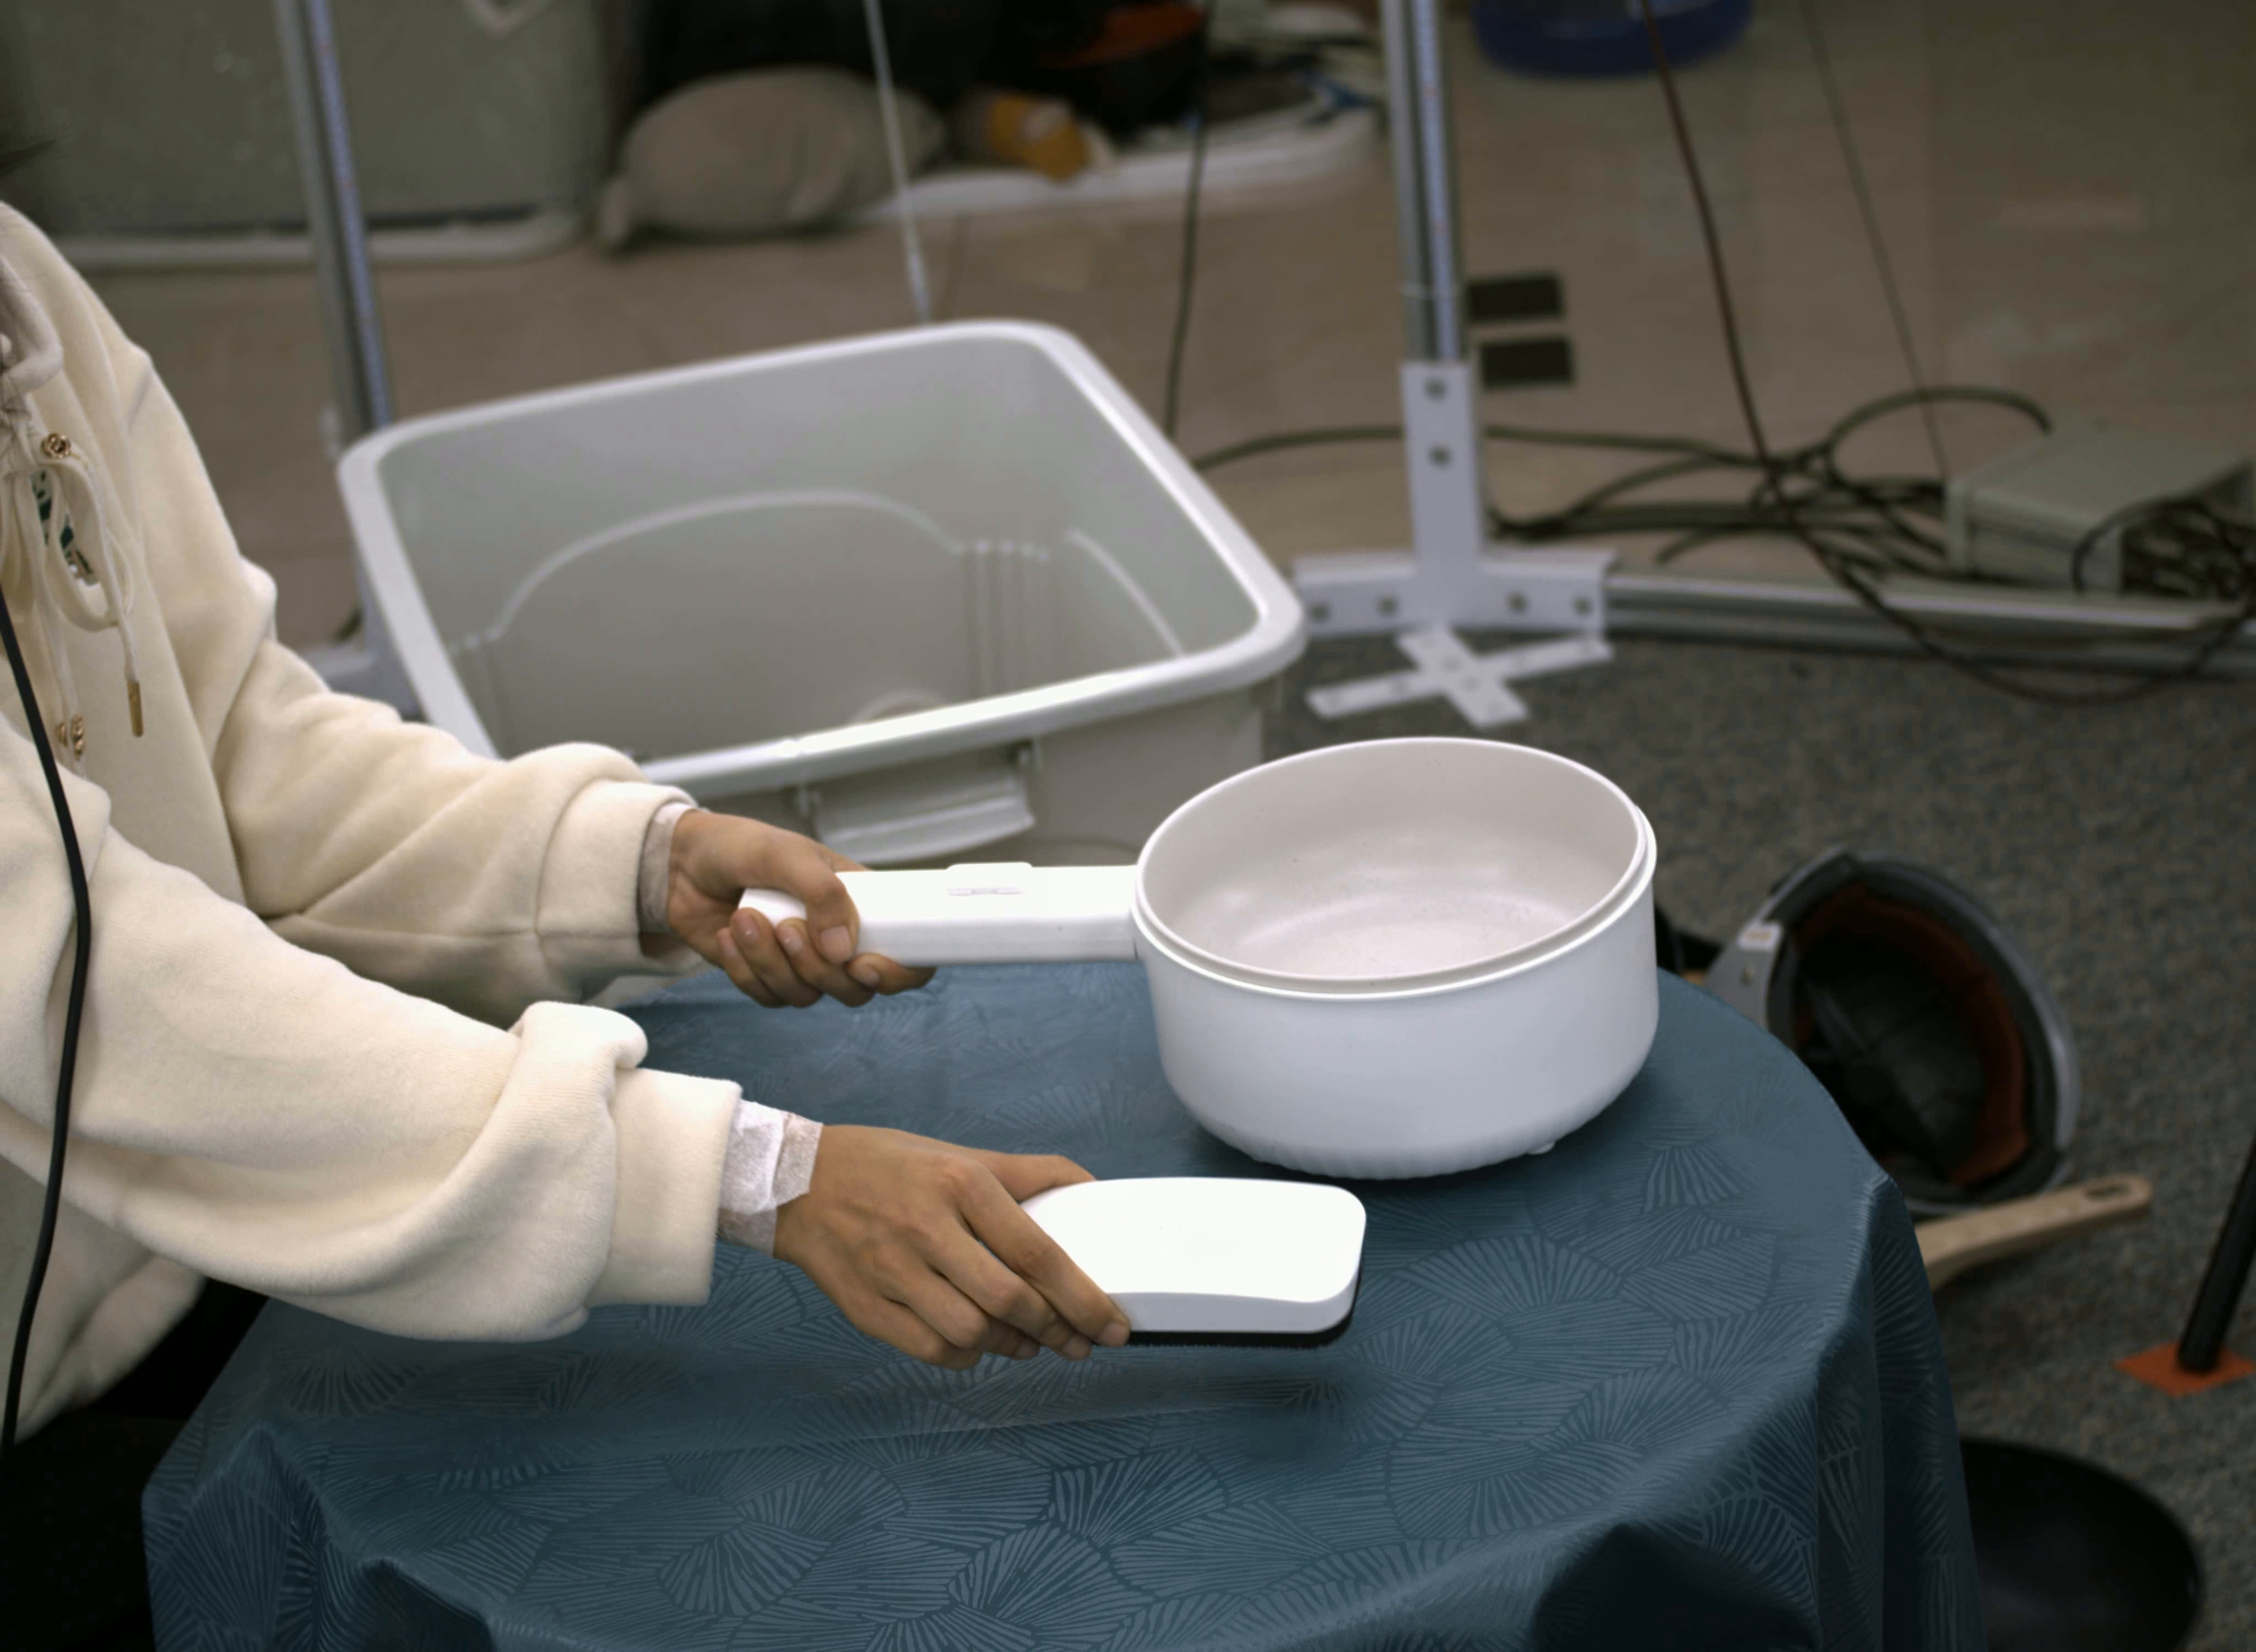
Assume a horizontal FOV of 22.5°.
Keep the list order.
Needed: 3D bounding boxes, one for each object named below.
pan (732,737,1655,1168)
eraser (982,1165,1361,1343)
[{"bbox_3d":[0.028,0.057,2.184,0.354,0.104,0.198,-4,25,11],"label":"pan"},{"bbox_3d":[0.016,0.152,1.994,0.131,0.035,0.062,-1,36,17],"label":"eraser"}]
